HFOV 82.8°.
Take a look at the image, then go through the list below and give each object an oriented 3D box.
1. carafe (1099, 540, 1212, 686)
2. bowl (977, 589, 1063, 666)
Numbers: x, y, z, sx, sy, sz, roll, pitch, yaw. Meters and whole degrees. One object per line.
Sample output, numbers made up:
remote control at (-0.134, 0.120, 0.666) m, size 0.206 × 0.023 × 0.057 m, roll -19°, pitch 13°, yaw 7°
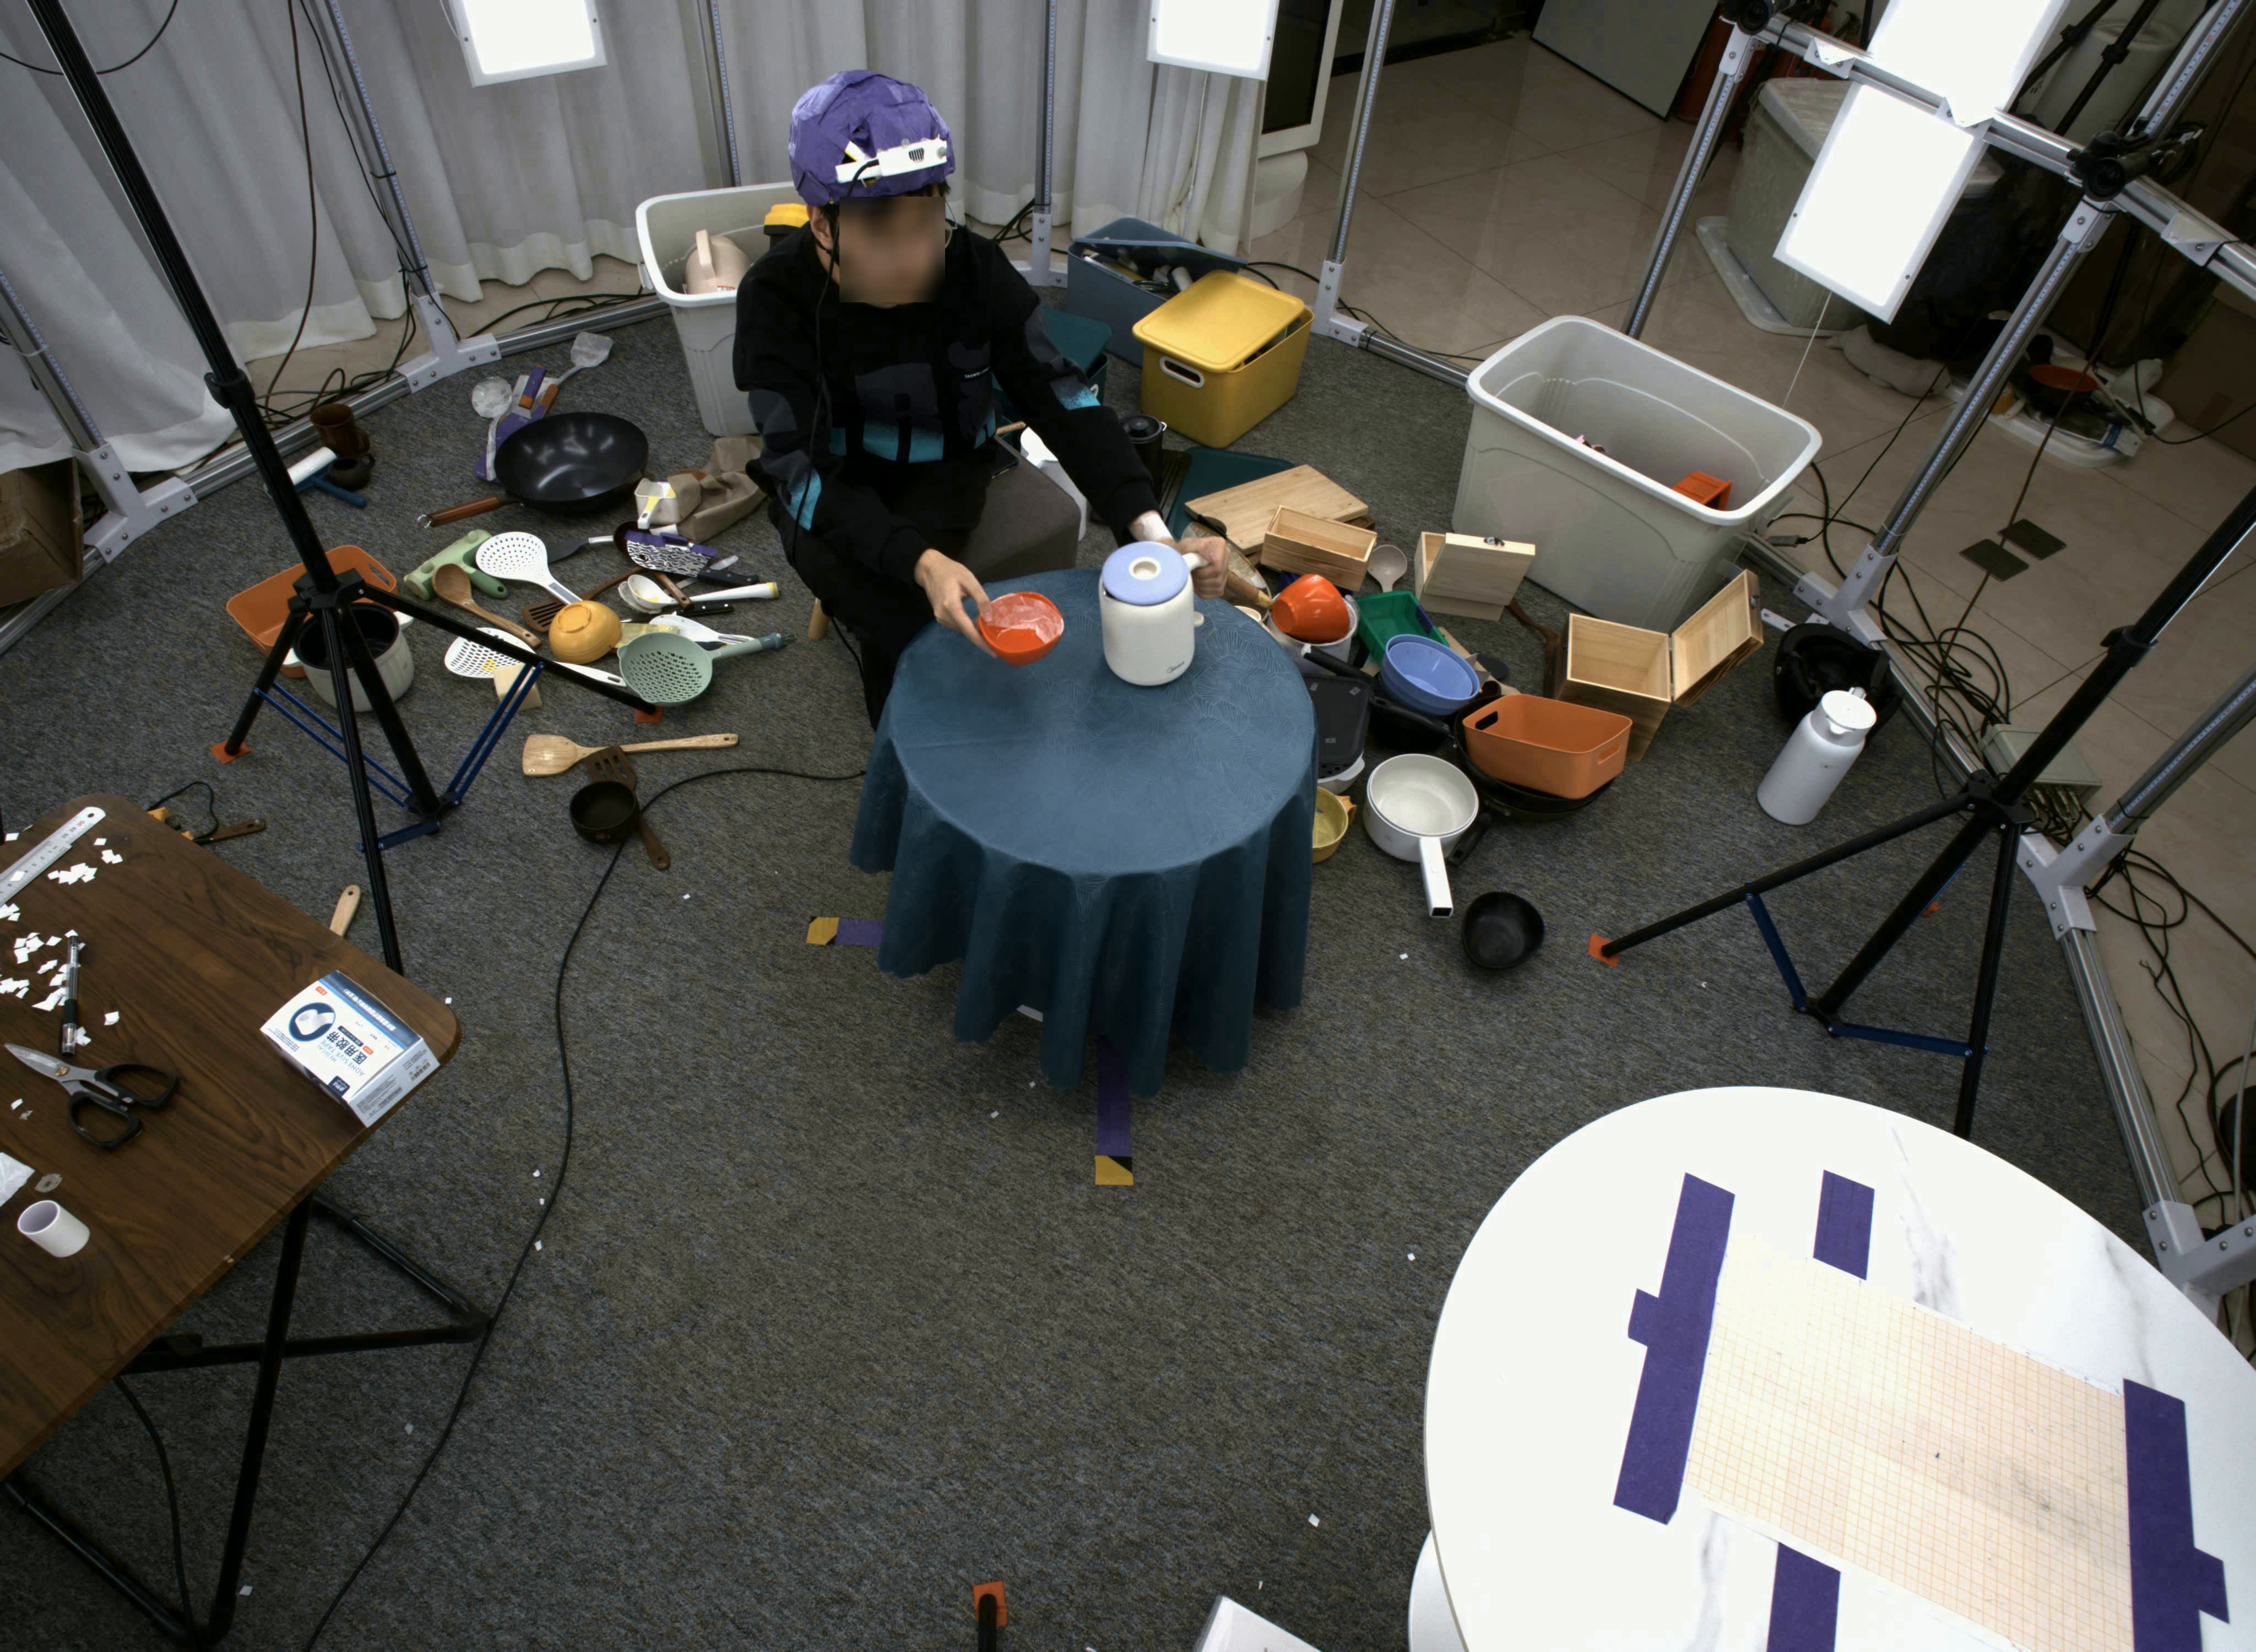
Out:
carafe at (0.046, -0.311, 1.819) m, size 0.192 × 0.178 × 0.134 m, roll -32°, pitch 60°, yaw -22°
bowl at (-0.146, -0.265, 1.758) m, size 0.119 × 0.050 × 0.122 m, roll 0°, pitch 55°, yaw 0°
